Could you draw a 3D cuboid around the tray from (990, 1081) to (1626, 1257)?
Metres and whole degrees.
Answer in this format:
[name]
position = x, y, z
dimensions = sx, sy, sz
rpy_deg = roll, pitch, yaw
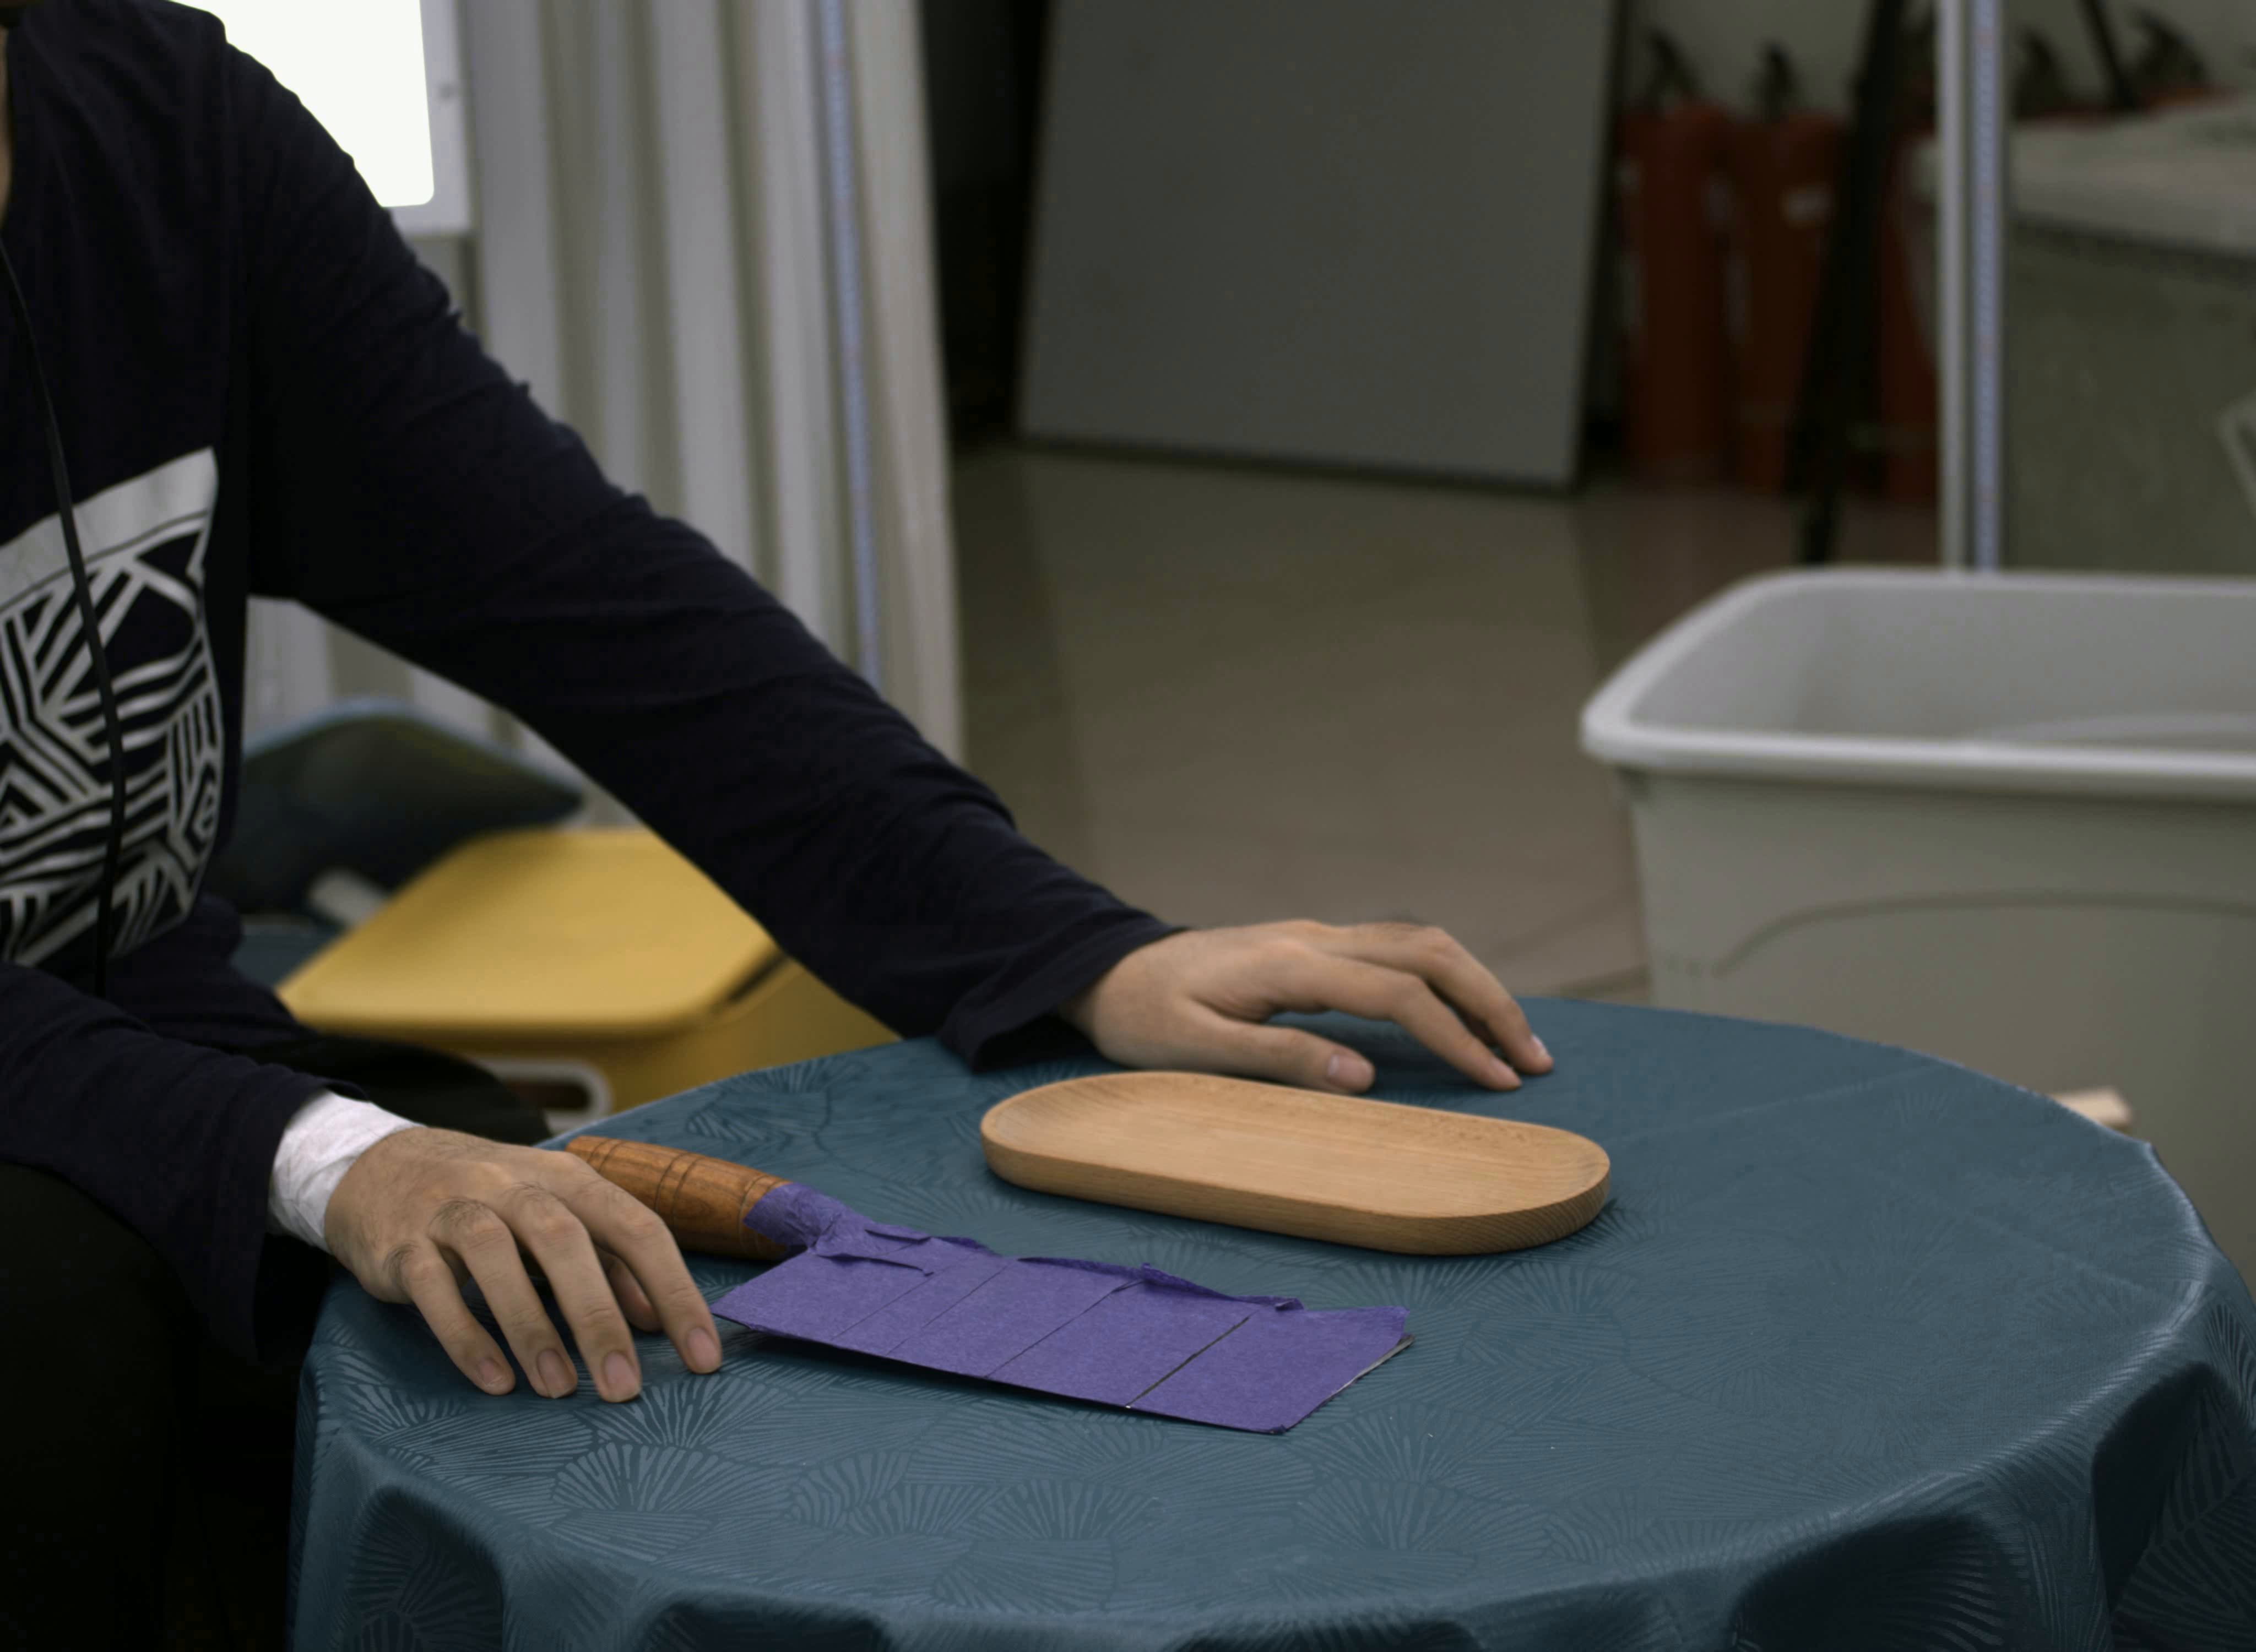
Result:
[tray]
position = 0.057, 0.112, 1.765
dimensions = 0.232, 0.020, 0.100
rpy_deg = 7, 18, 35

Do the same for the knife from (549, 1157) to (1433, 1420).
[knife]
position = -0.064, 0.141, 1.657
dimensions = 0.317, 0.032, 0.102
rpy_deg = 5, 16, 32
